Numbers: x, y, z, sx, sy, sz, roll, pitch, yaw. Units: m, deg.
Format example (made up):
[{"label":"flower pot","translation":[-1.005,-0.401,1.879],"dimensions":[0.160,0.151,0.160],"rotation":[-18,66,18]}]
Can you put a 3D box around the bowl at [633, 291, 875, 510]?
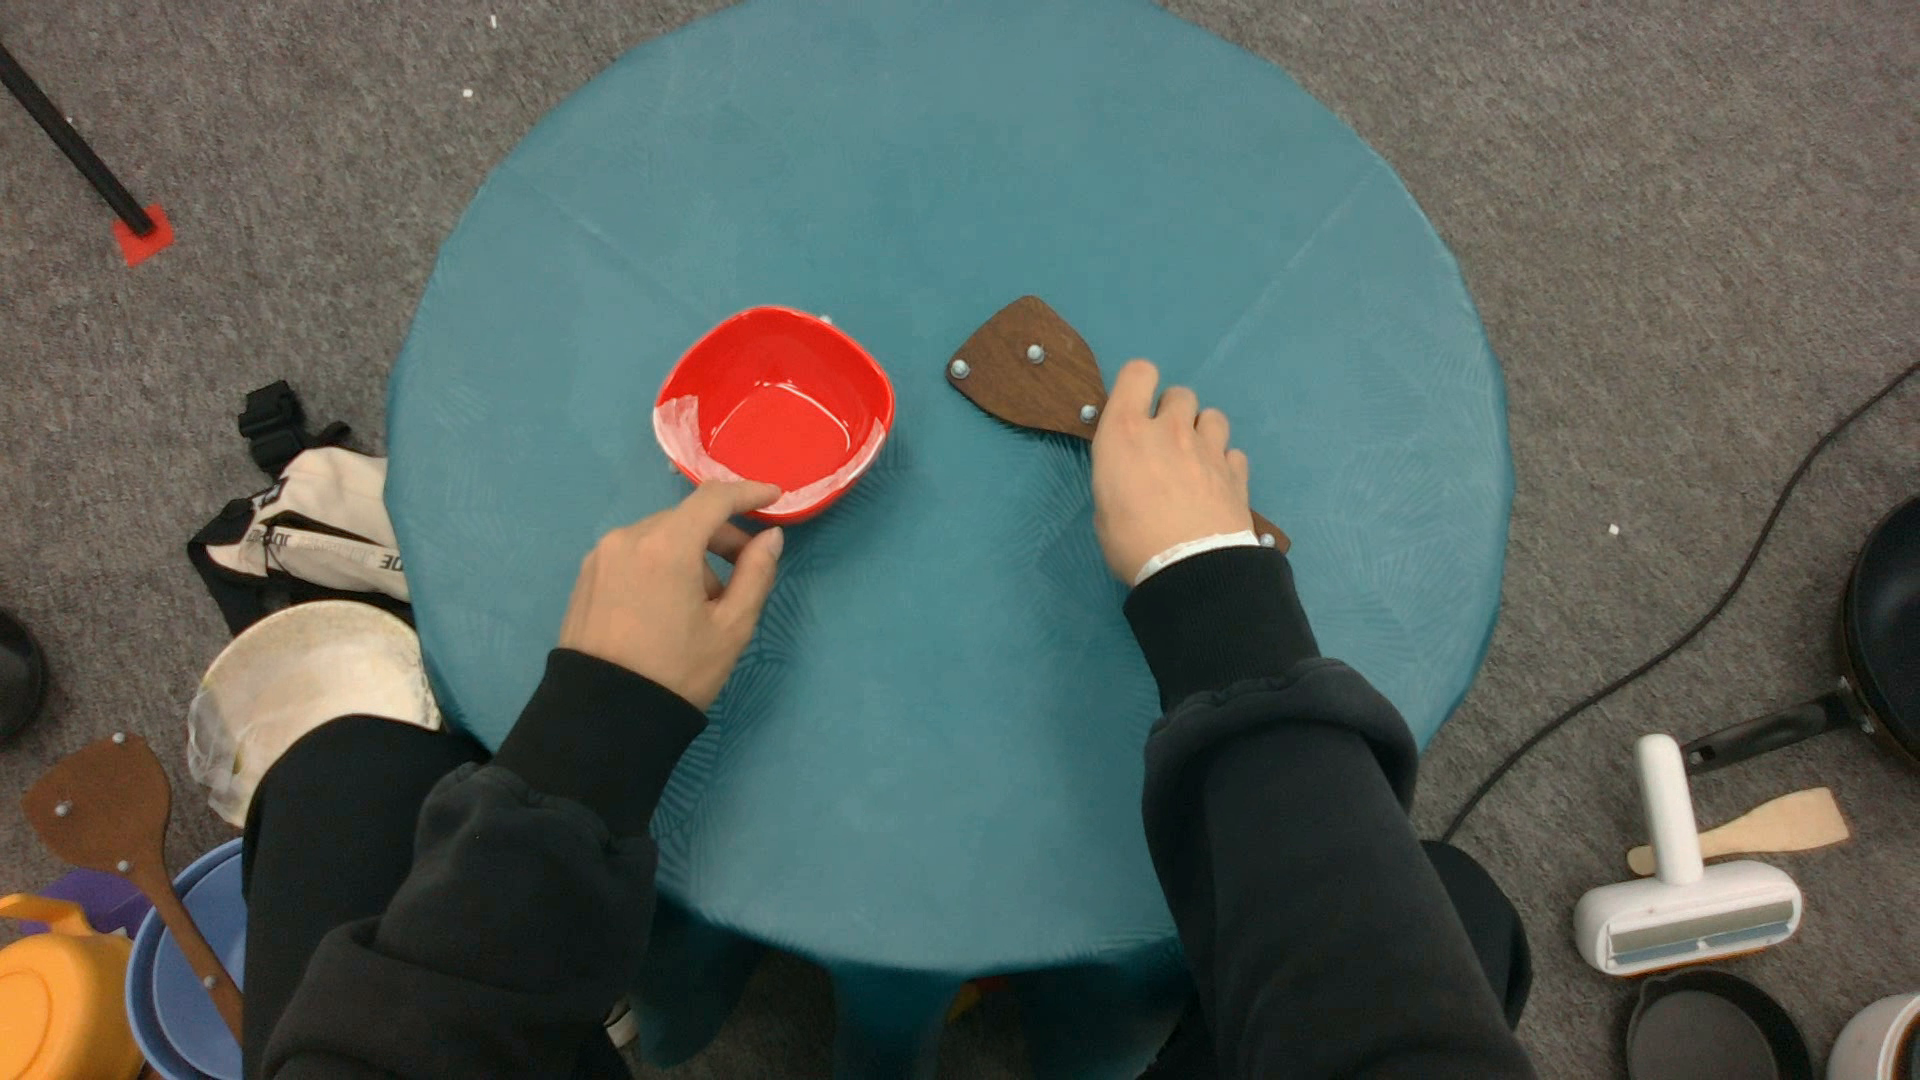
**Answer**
[{"label":"bowl","translation":[-0.103,-0.063,0.702],"dimensions":[0.119,0.051,0.119],"rotation":[2,67,-4]}]

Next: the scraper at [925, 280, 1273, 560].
[{"label":"scraper","translation":[0.075,-0.060,0.724],"dimensions":[0.211,0.011,0.076],"rotation":[40,71,21]}]
